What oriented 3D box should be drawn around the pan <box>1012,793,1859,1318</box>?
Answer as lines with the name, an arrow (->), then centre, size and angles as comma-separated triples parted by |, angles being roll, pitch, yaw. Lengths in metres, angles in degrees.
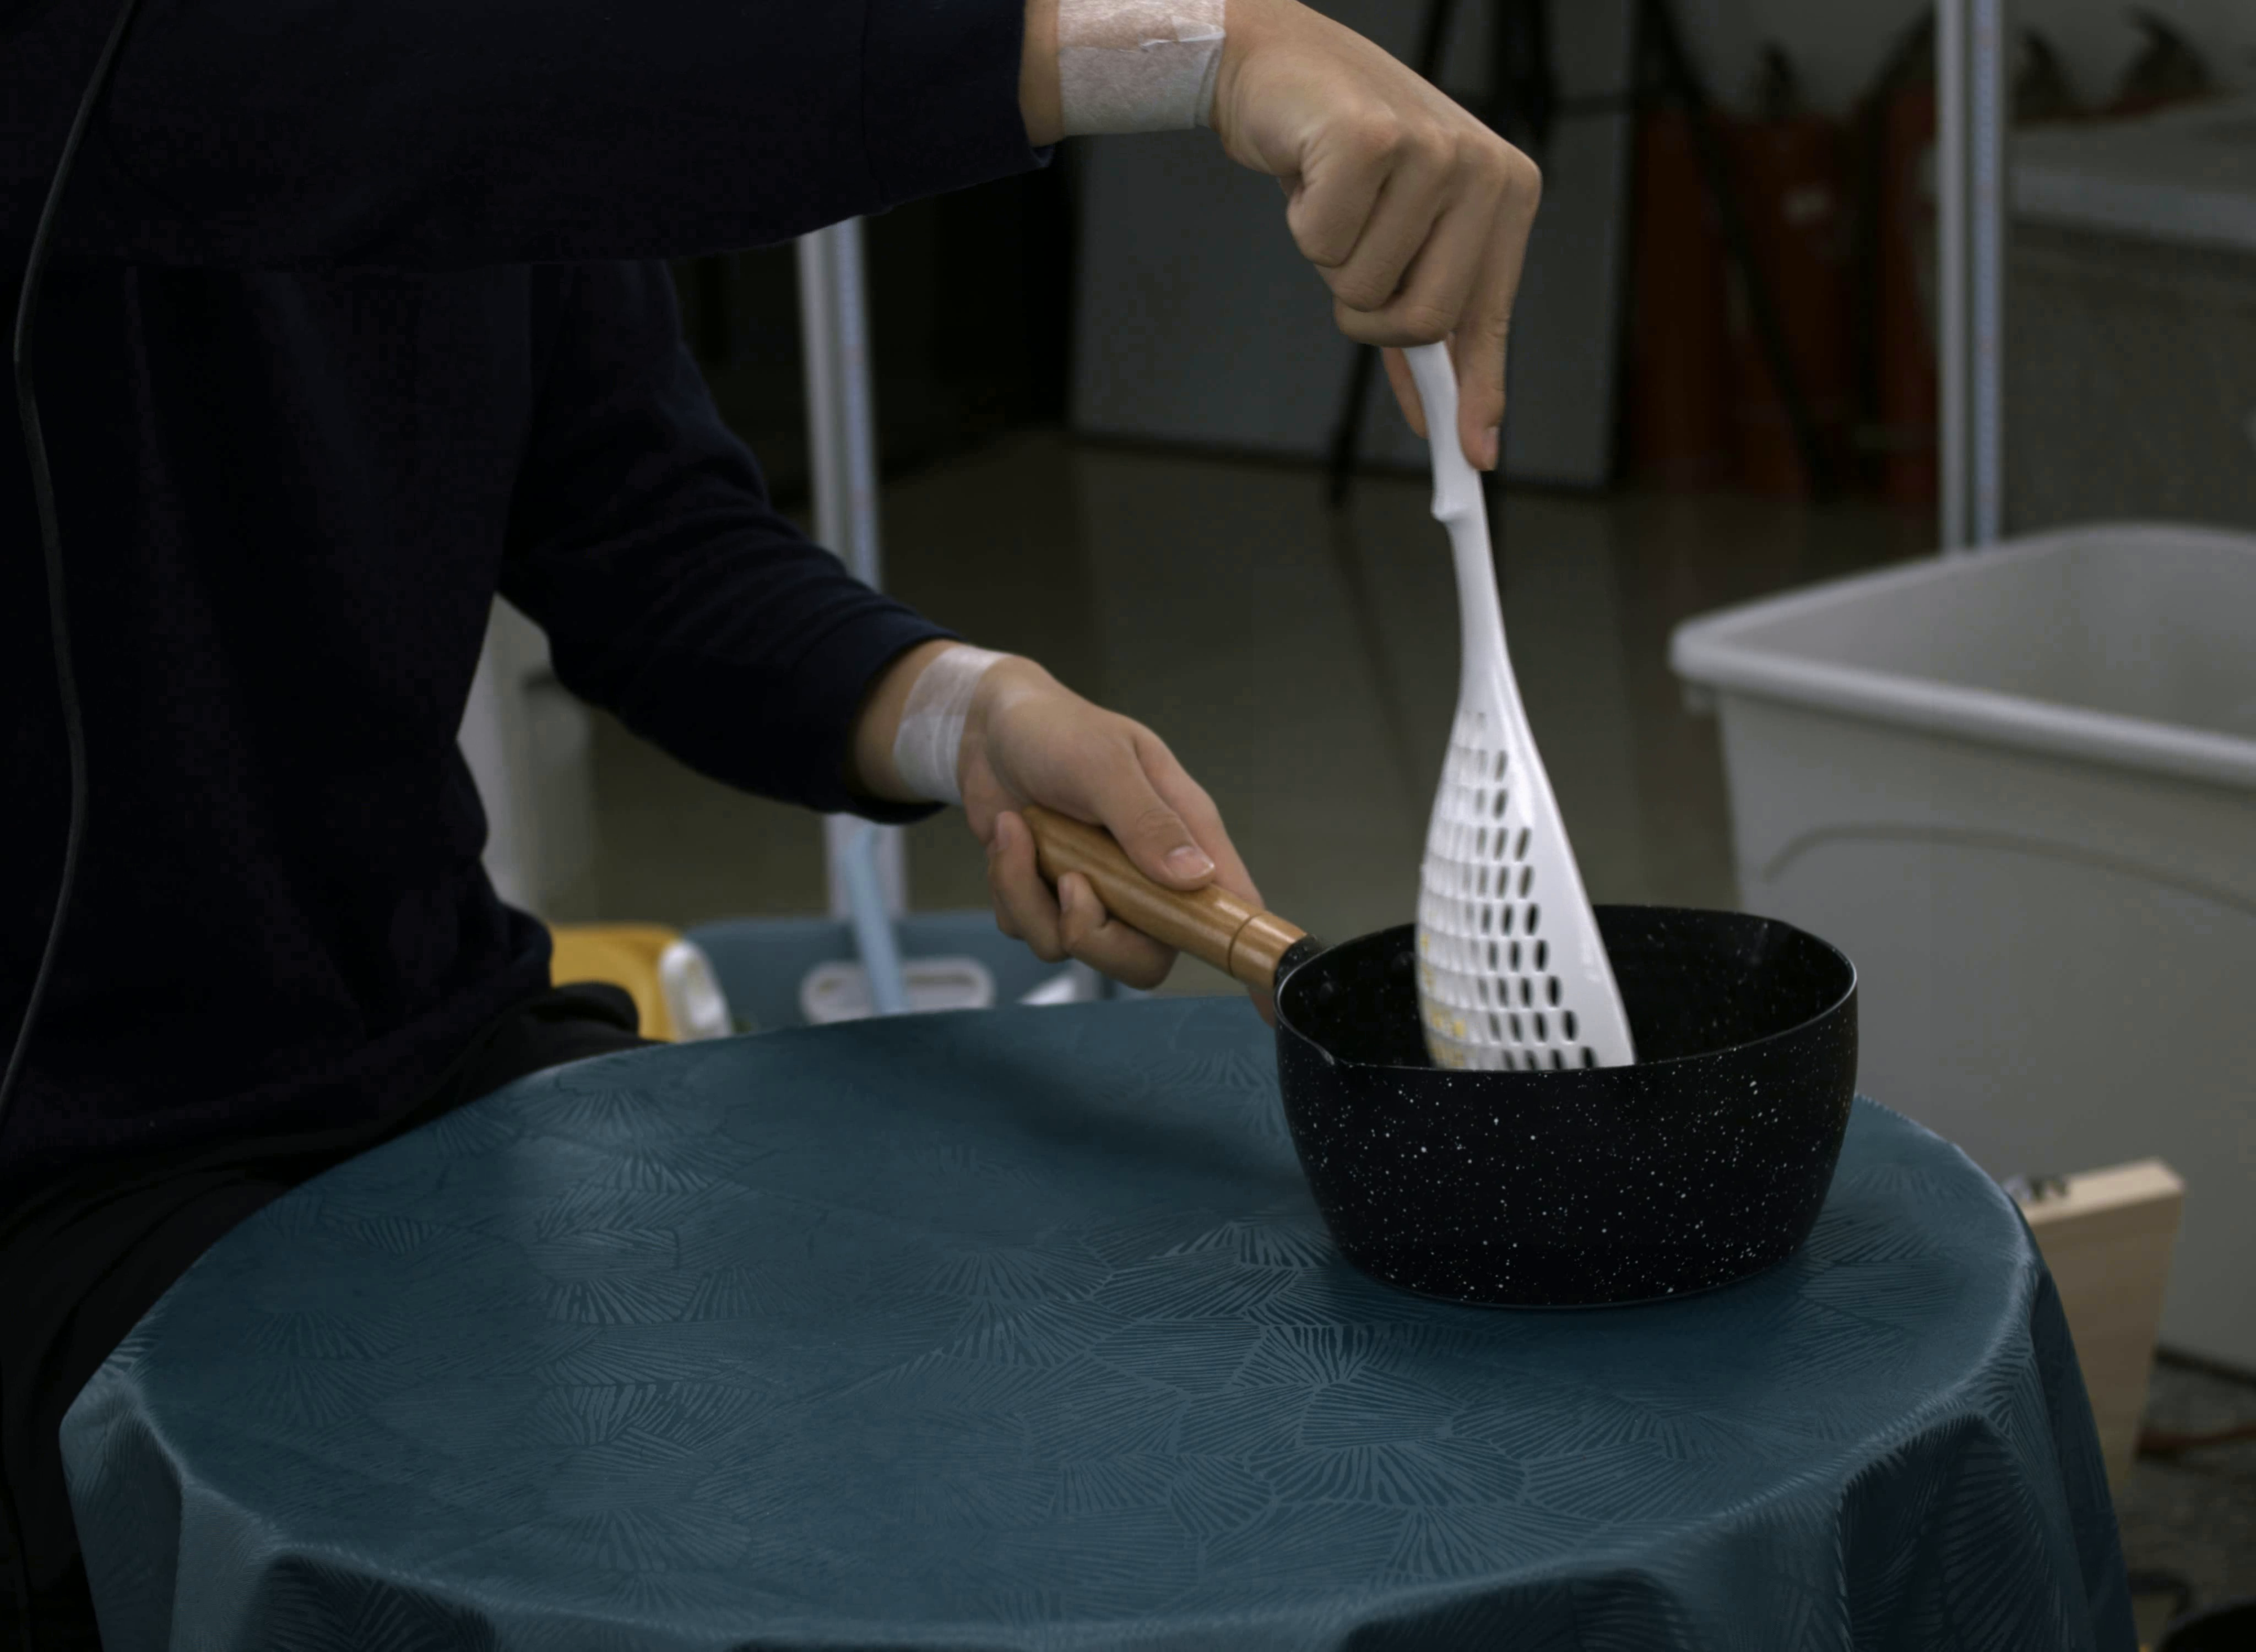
pan -> 0.083, 0.067, 1.740 | 0.203, 0.109, 0.346 | -18, 20, -41

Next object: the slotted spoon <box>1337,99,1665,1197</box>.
slotted spoon -> 0.103, -0.046, 1.630 | 0.049, 0.352, 0.138 | -10, 11, -15
